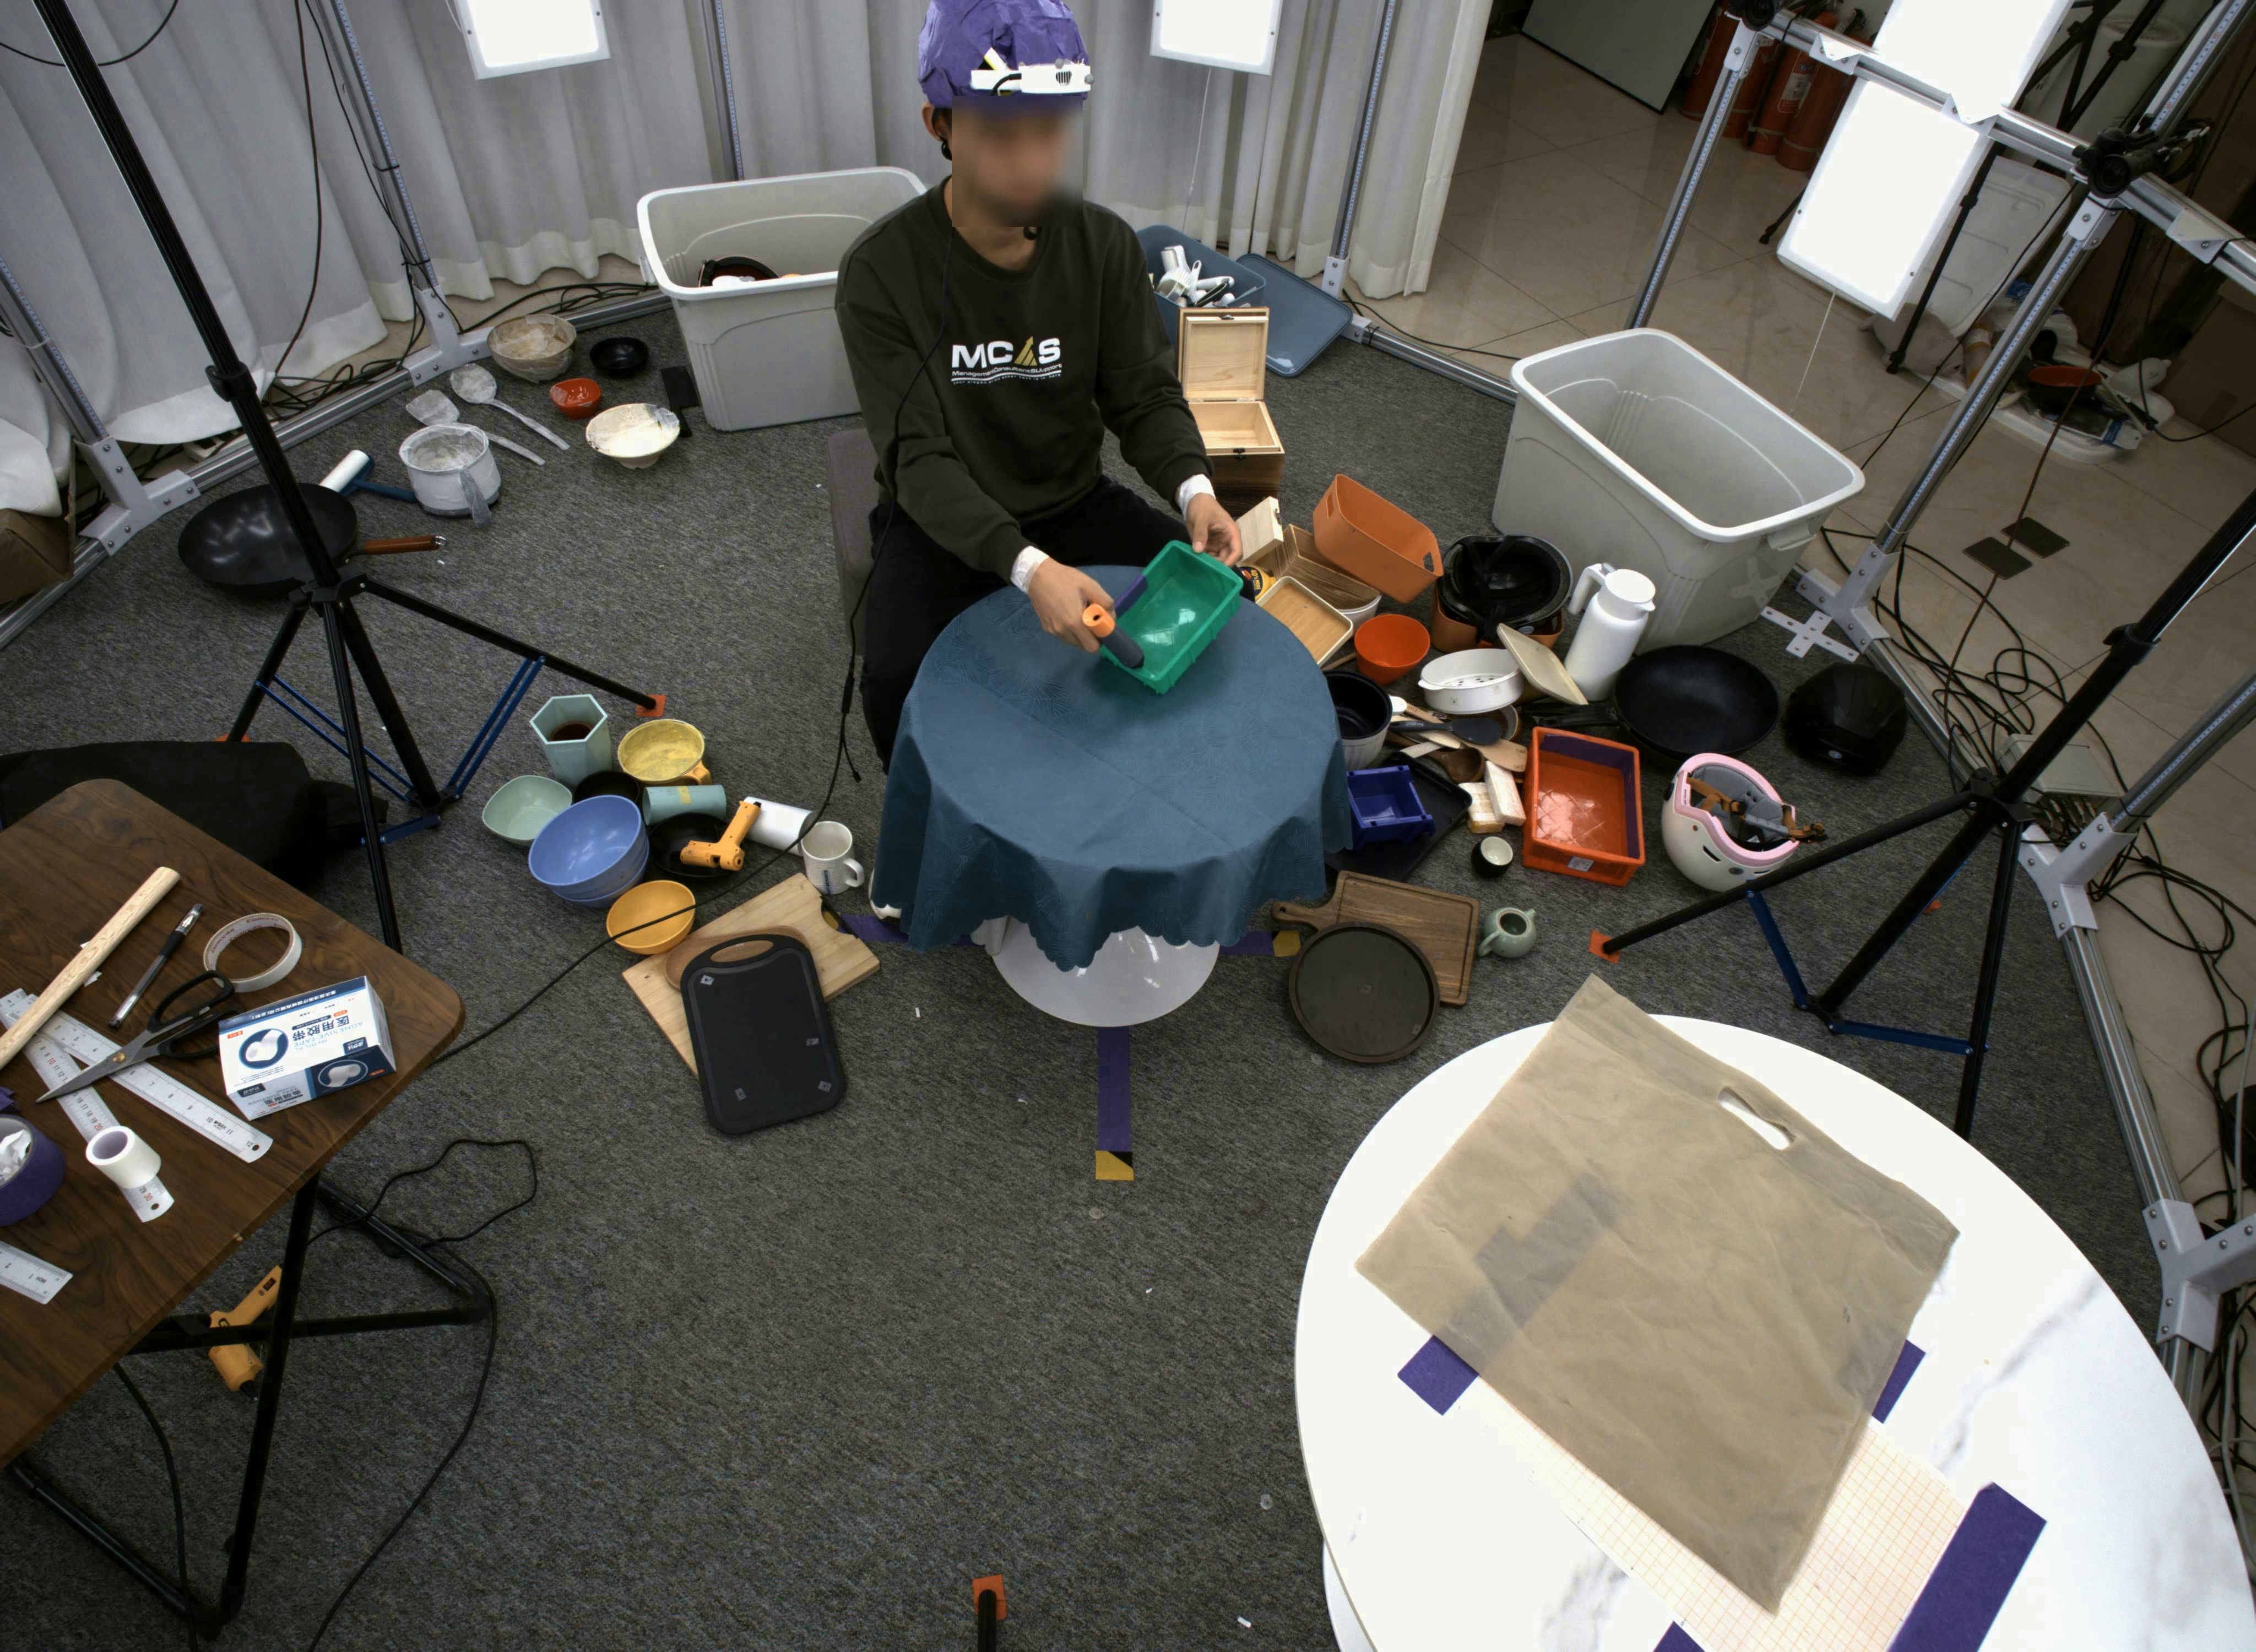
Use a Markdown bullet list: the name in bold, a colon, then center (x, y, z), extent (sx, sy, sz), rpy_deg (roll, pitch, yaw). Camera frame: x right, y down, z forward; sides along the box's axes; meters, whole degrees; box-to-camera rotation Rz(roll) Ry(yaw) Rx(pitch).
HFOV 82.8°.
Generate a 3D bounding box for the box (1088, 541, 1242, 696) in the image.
- **box**: center (0.058, -0.294, 1.842), extent (0.140, 0.064, 0.212), rpy_deg (33, 77, 25)

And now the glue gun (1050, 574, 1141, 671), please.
- **glue gun**: center (-0.041, -0.278, 1.767), extent (0.041, 0.115, 0.142), rpy_deg (-42, 59, -3)
